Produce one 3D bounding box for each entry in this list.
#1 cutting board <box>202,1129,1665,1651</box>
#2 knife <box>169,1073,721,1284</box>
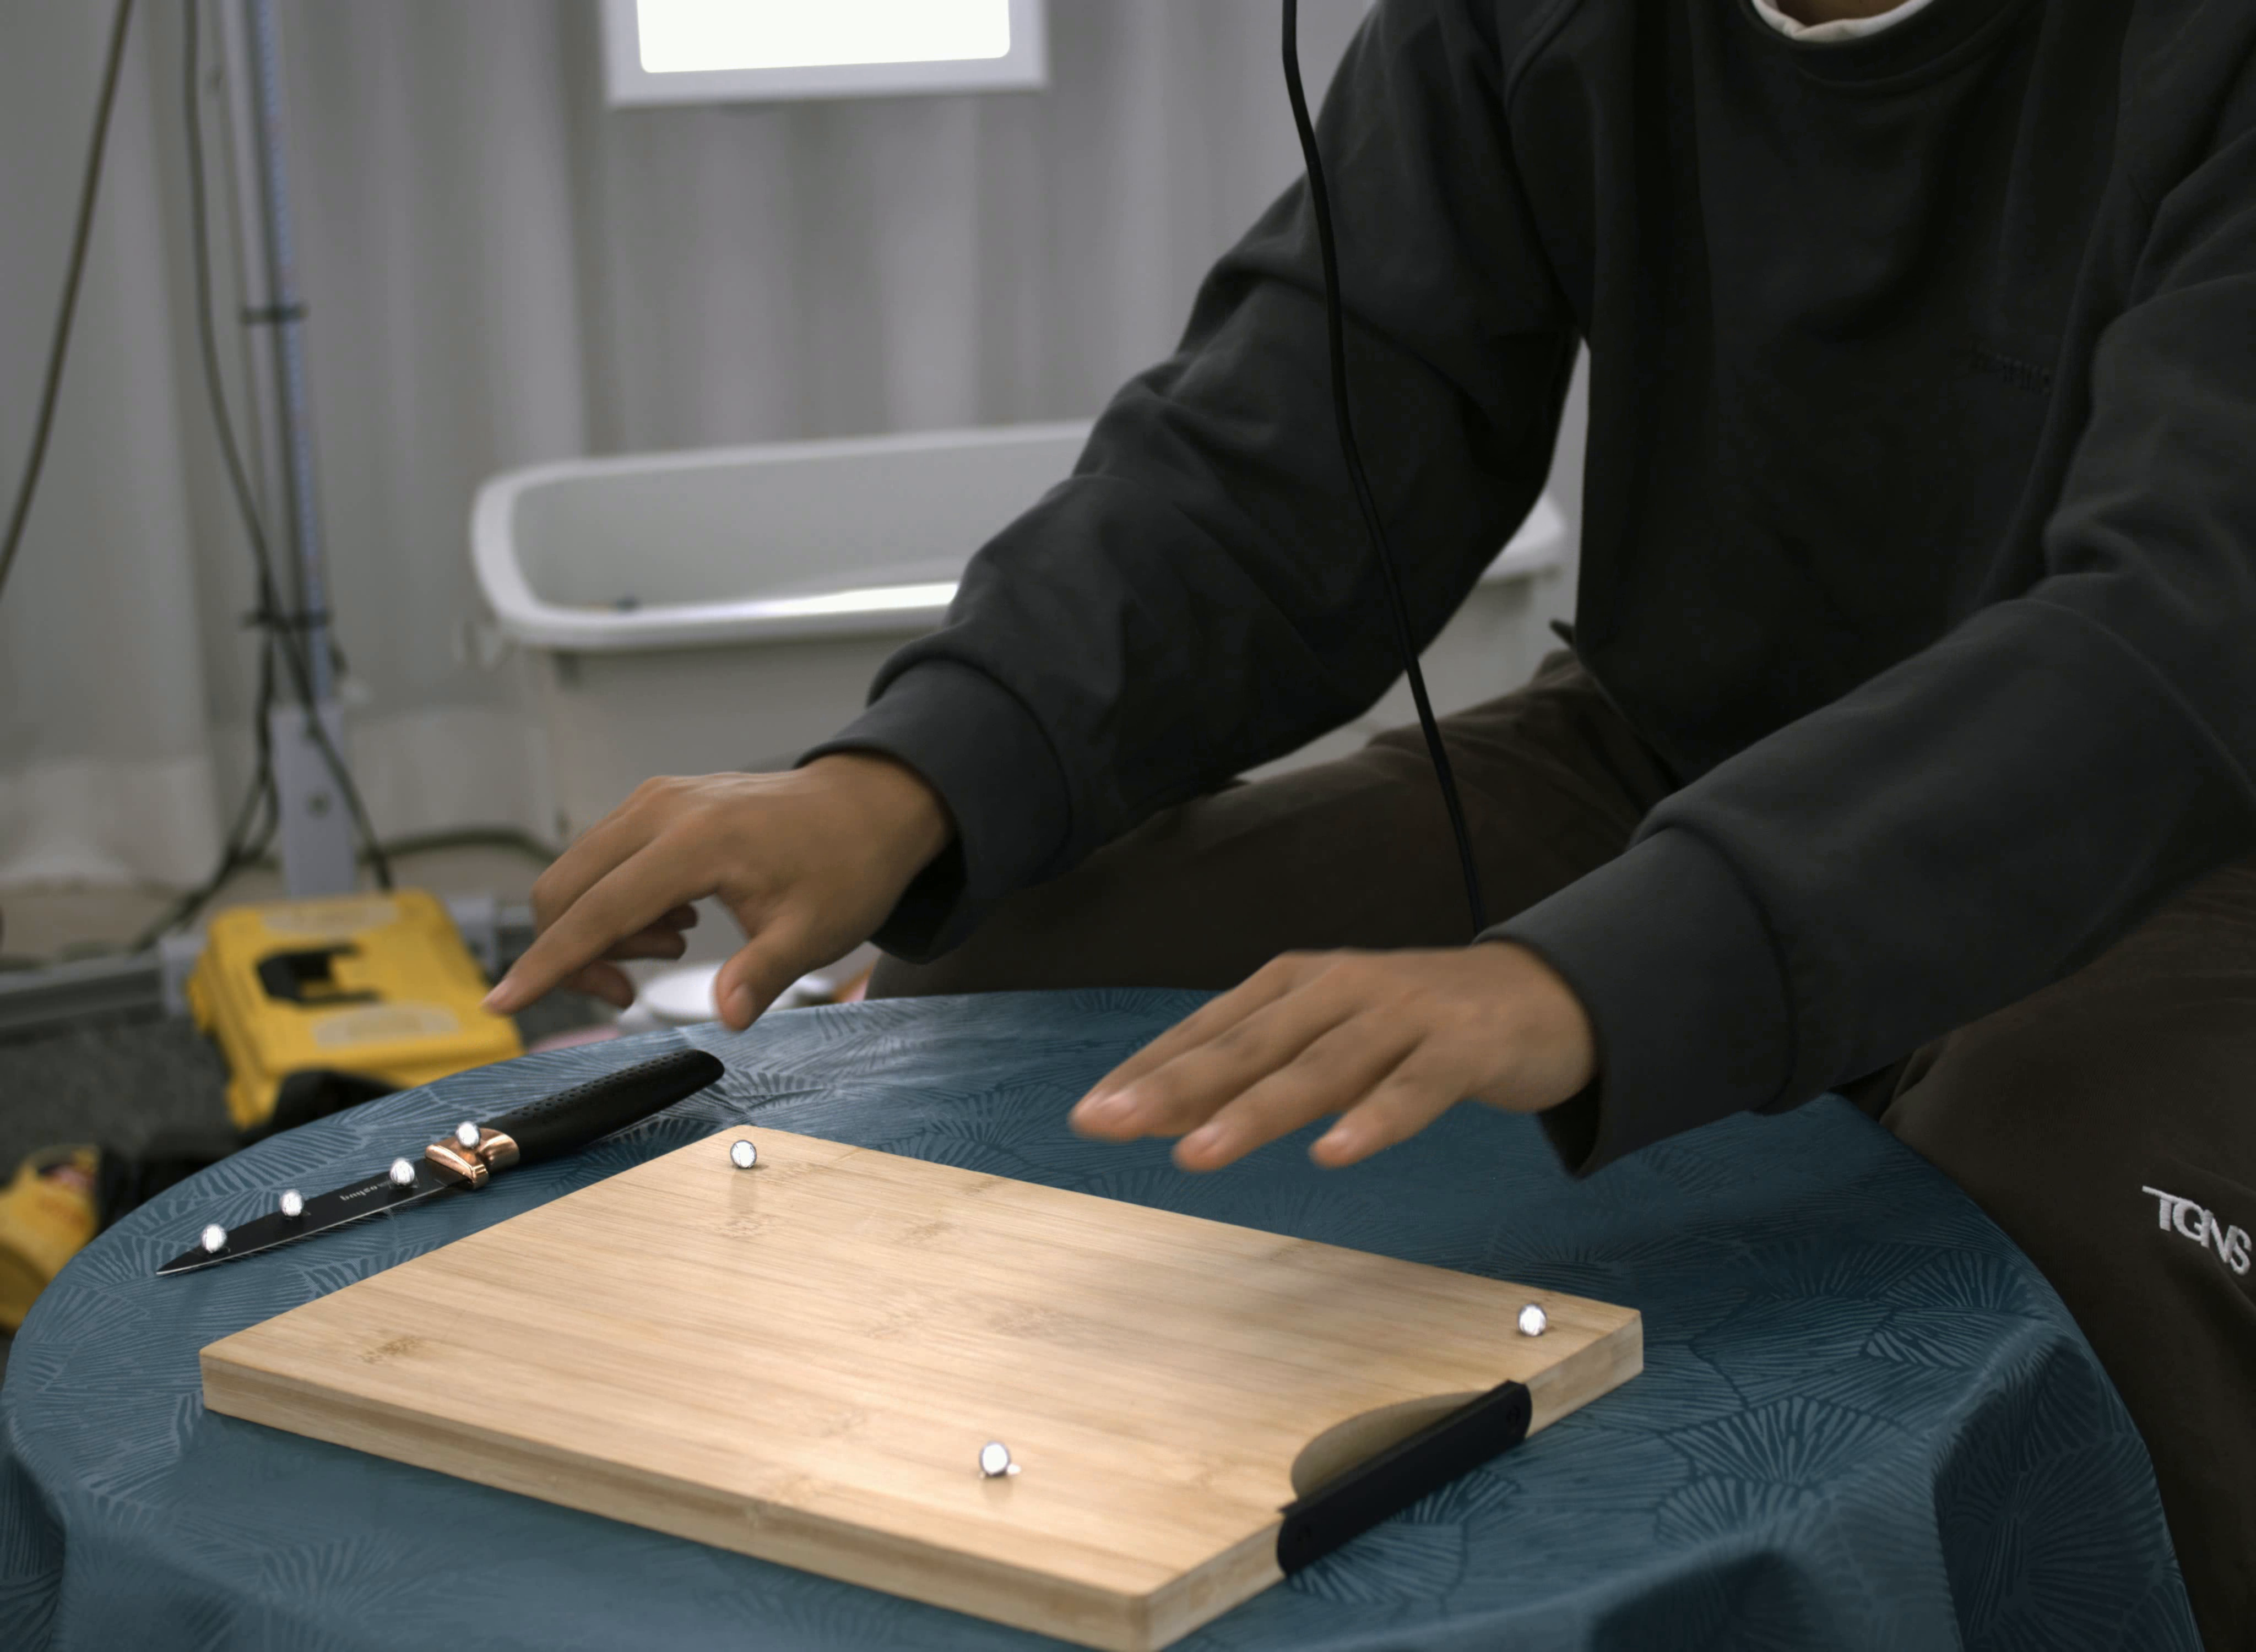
[{"bbox_3d":[-0.056,0.154,1.549,0.350,0.023,0.250,8,19,36],"label":"cutting board"},{"bbox_3d":[-0.216,0.112,1.744,0.026,0.017,0.225,19,26,41],"label":"knife"}]
